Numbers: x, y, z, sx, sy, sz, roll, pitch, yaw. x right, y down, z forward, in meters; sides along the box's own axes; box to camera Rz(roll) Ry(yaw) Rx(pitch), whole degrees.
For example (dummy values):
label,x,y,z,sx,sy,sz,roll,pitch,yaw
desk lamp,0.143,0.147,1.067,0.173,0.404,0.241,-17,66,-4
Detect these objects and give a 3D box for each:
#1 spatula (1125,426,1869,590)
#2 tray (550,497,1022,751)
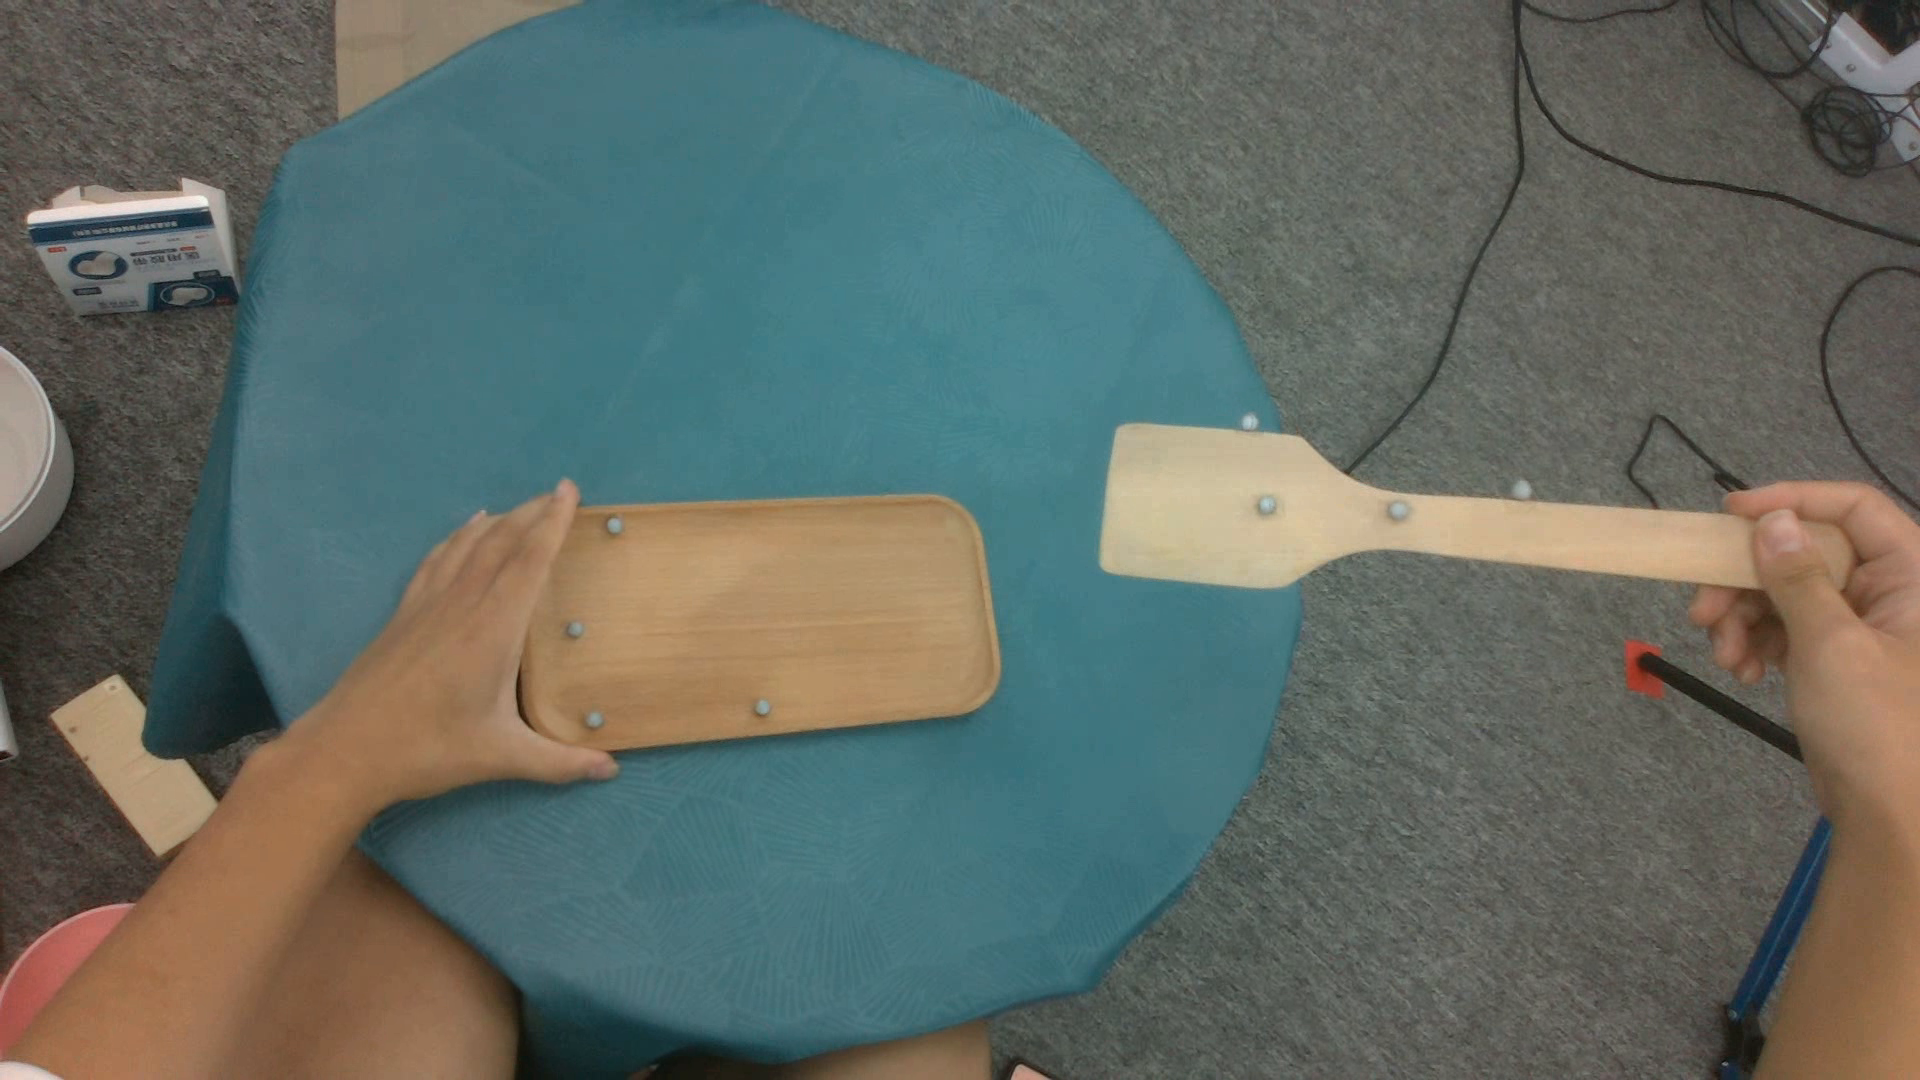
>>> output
label,x,y,z,sx,sy,sz,roll,pitch,yaw
spatula,0.214,-0.007,0.584,0.292,0.010,0.072,5,84,23
tray,-0.090,0.042,0.746,0.251,0.023,0.131,-2,75,-19
